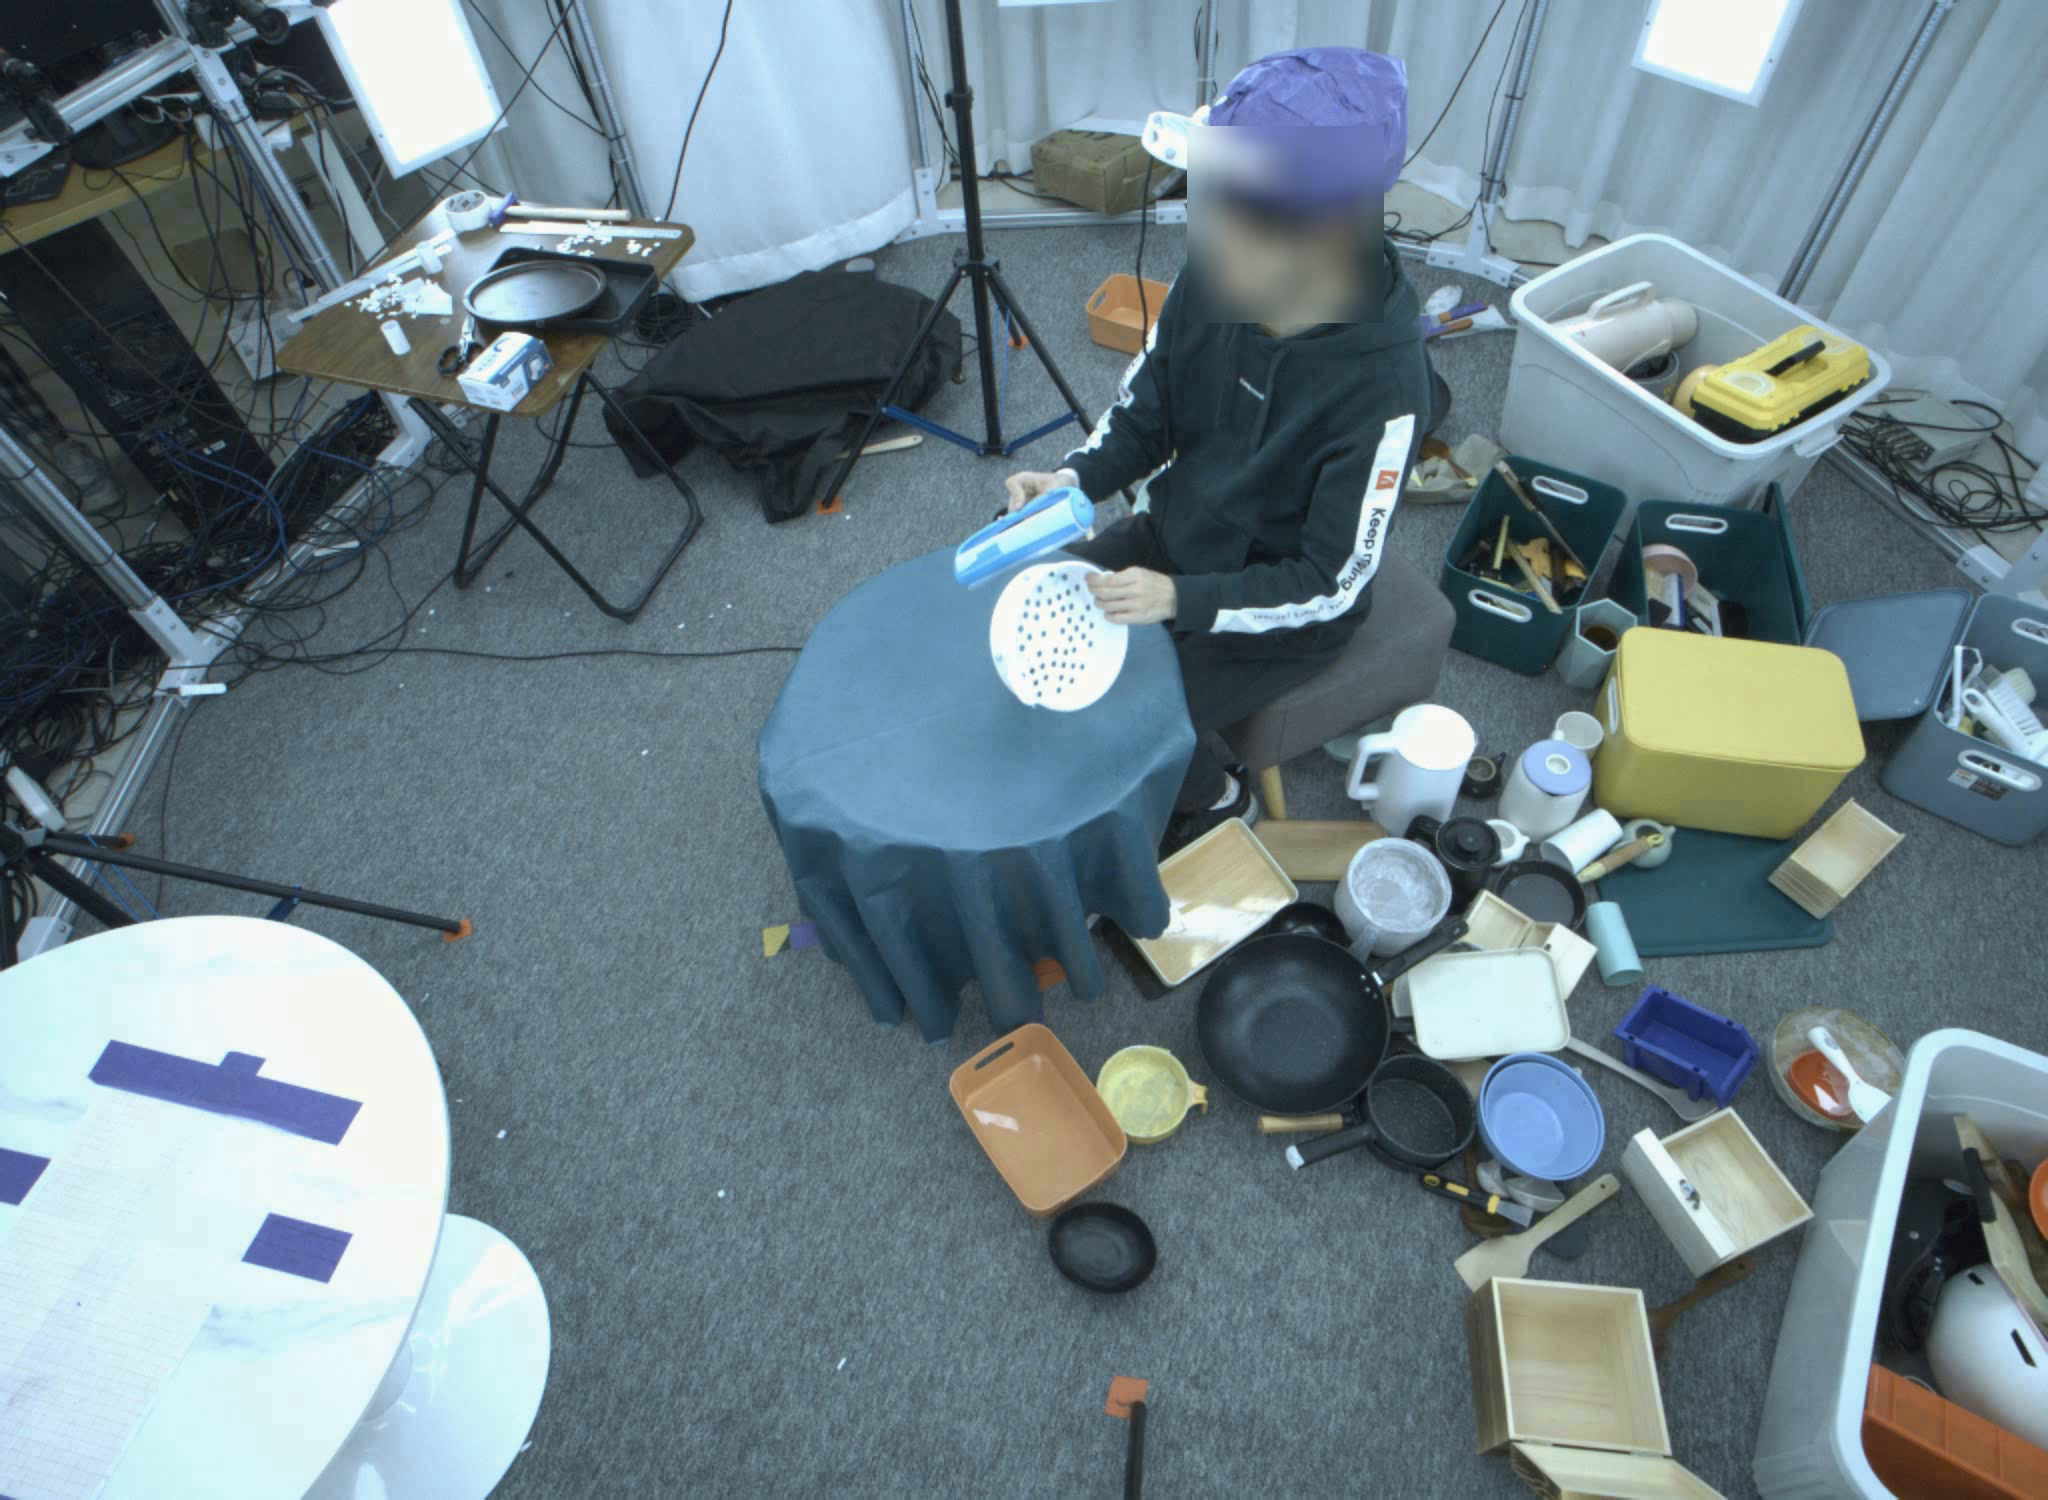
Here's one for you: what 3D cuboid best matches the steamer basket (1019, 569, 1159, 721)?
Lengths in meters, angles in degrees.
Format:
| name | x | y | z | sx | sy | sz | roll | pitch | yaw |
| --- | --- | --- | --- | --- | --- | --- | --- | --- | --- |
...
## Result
| name | x | y | z | sx | sy | sz | roll | pitch | yaw |
| --- | --- | --- | --- | --- | --- | --- | --- | --- | --- |
| steamer basket | 0.084 | -0.143 | 1.652 | 0.232 | 0.205 | 0.067 | -45 | 34 | -23 |

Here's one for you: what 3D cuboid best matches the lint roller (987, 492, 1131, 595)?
| name | x | y | z | sx | sy | sz | roll | pitch | yaw |
| --- | --- | --- | --- | --- | --- | --- | --- | --- | --- |
| lint roller | 0.057 | -0.303 | 1.699 | 0.226 | 0.069 | 0.180 | -25 | 23 | 27 |
